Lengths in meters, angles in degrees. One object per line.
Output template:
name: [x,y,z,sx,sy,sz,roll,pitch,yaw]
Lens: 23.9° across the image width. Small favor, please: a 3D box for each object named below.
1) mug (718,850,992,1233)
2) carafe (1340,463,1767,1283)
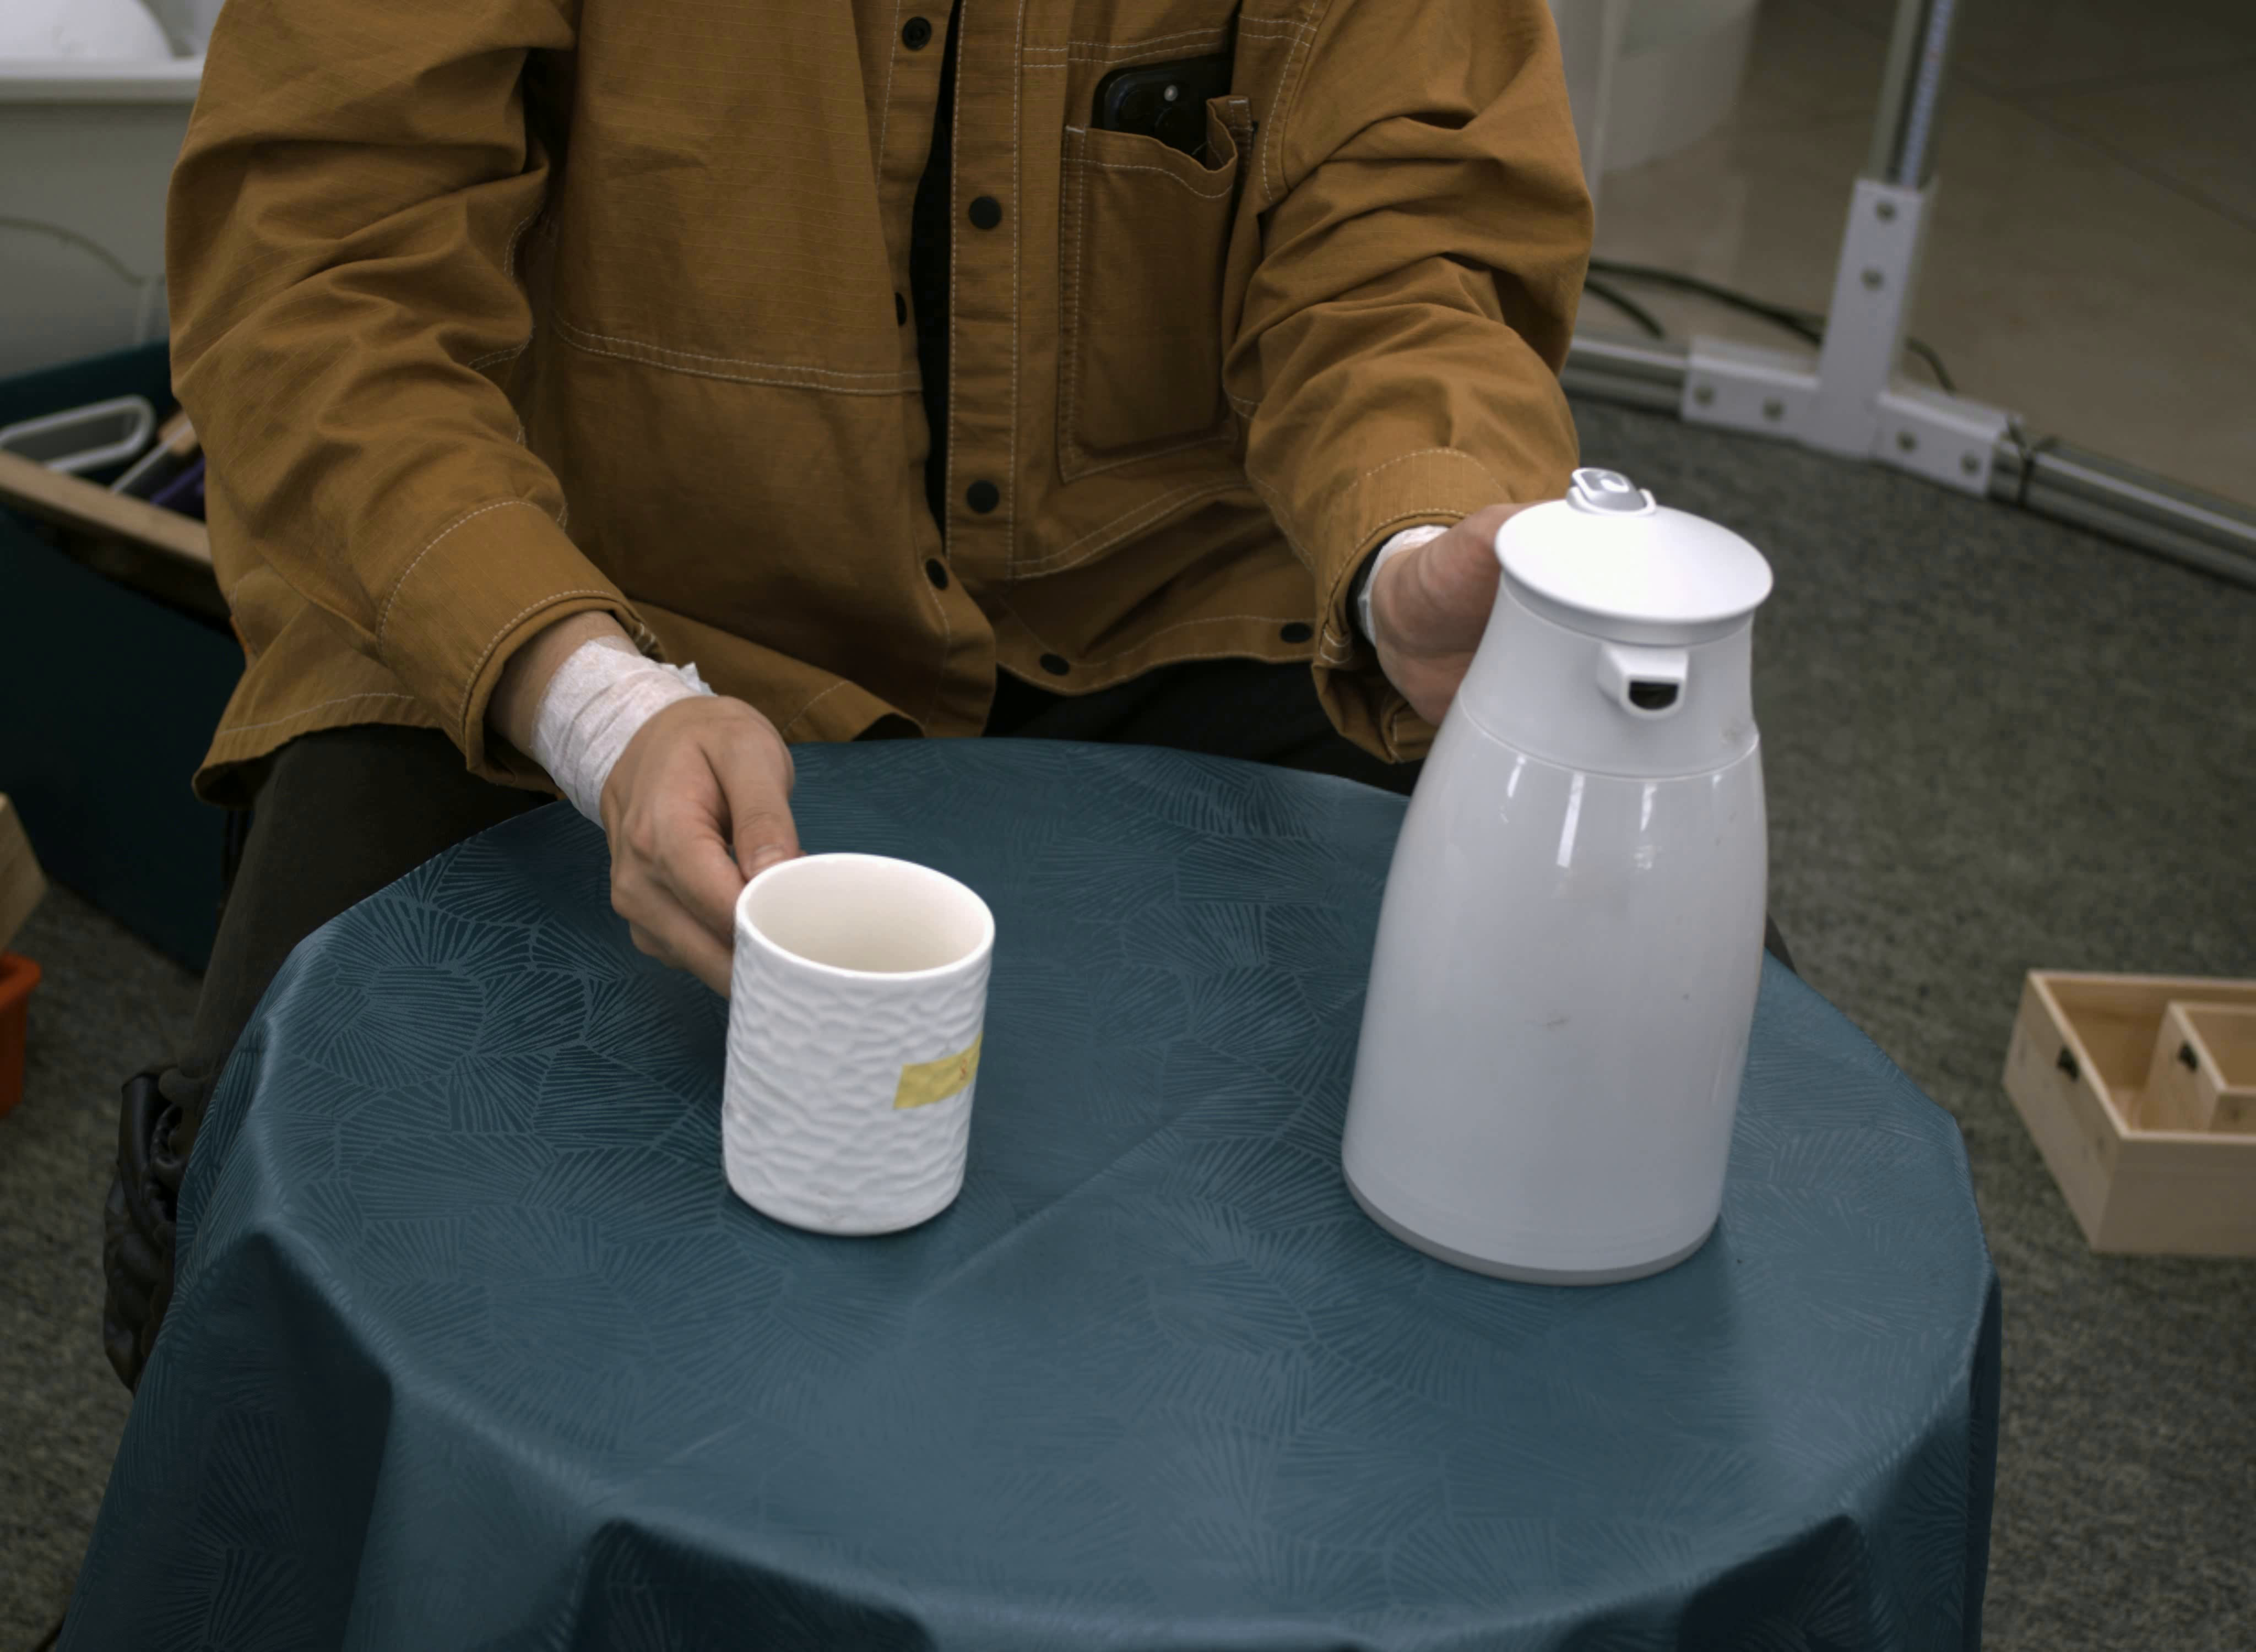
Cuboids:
mug: [-0.101,0.066,1.782,0.084,0.101,0.119,-12,32,-32]
carafe: [0.148,0.005,1.798,0.132,0.248,0.169,2,26,-7]
